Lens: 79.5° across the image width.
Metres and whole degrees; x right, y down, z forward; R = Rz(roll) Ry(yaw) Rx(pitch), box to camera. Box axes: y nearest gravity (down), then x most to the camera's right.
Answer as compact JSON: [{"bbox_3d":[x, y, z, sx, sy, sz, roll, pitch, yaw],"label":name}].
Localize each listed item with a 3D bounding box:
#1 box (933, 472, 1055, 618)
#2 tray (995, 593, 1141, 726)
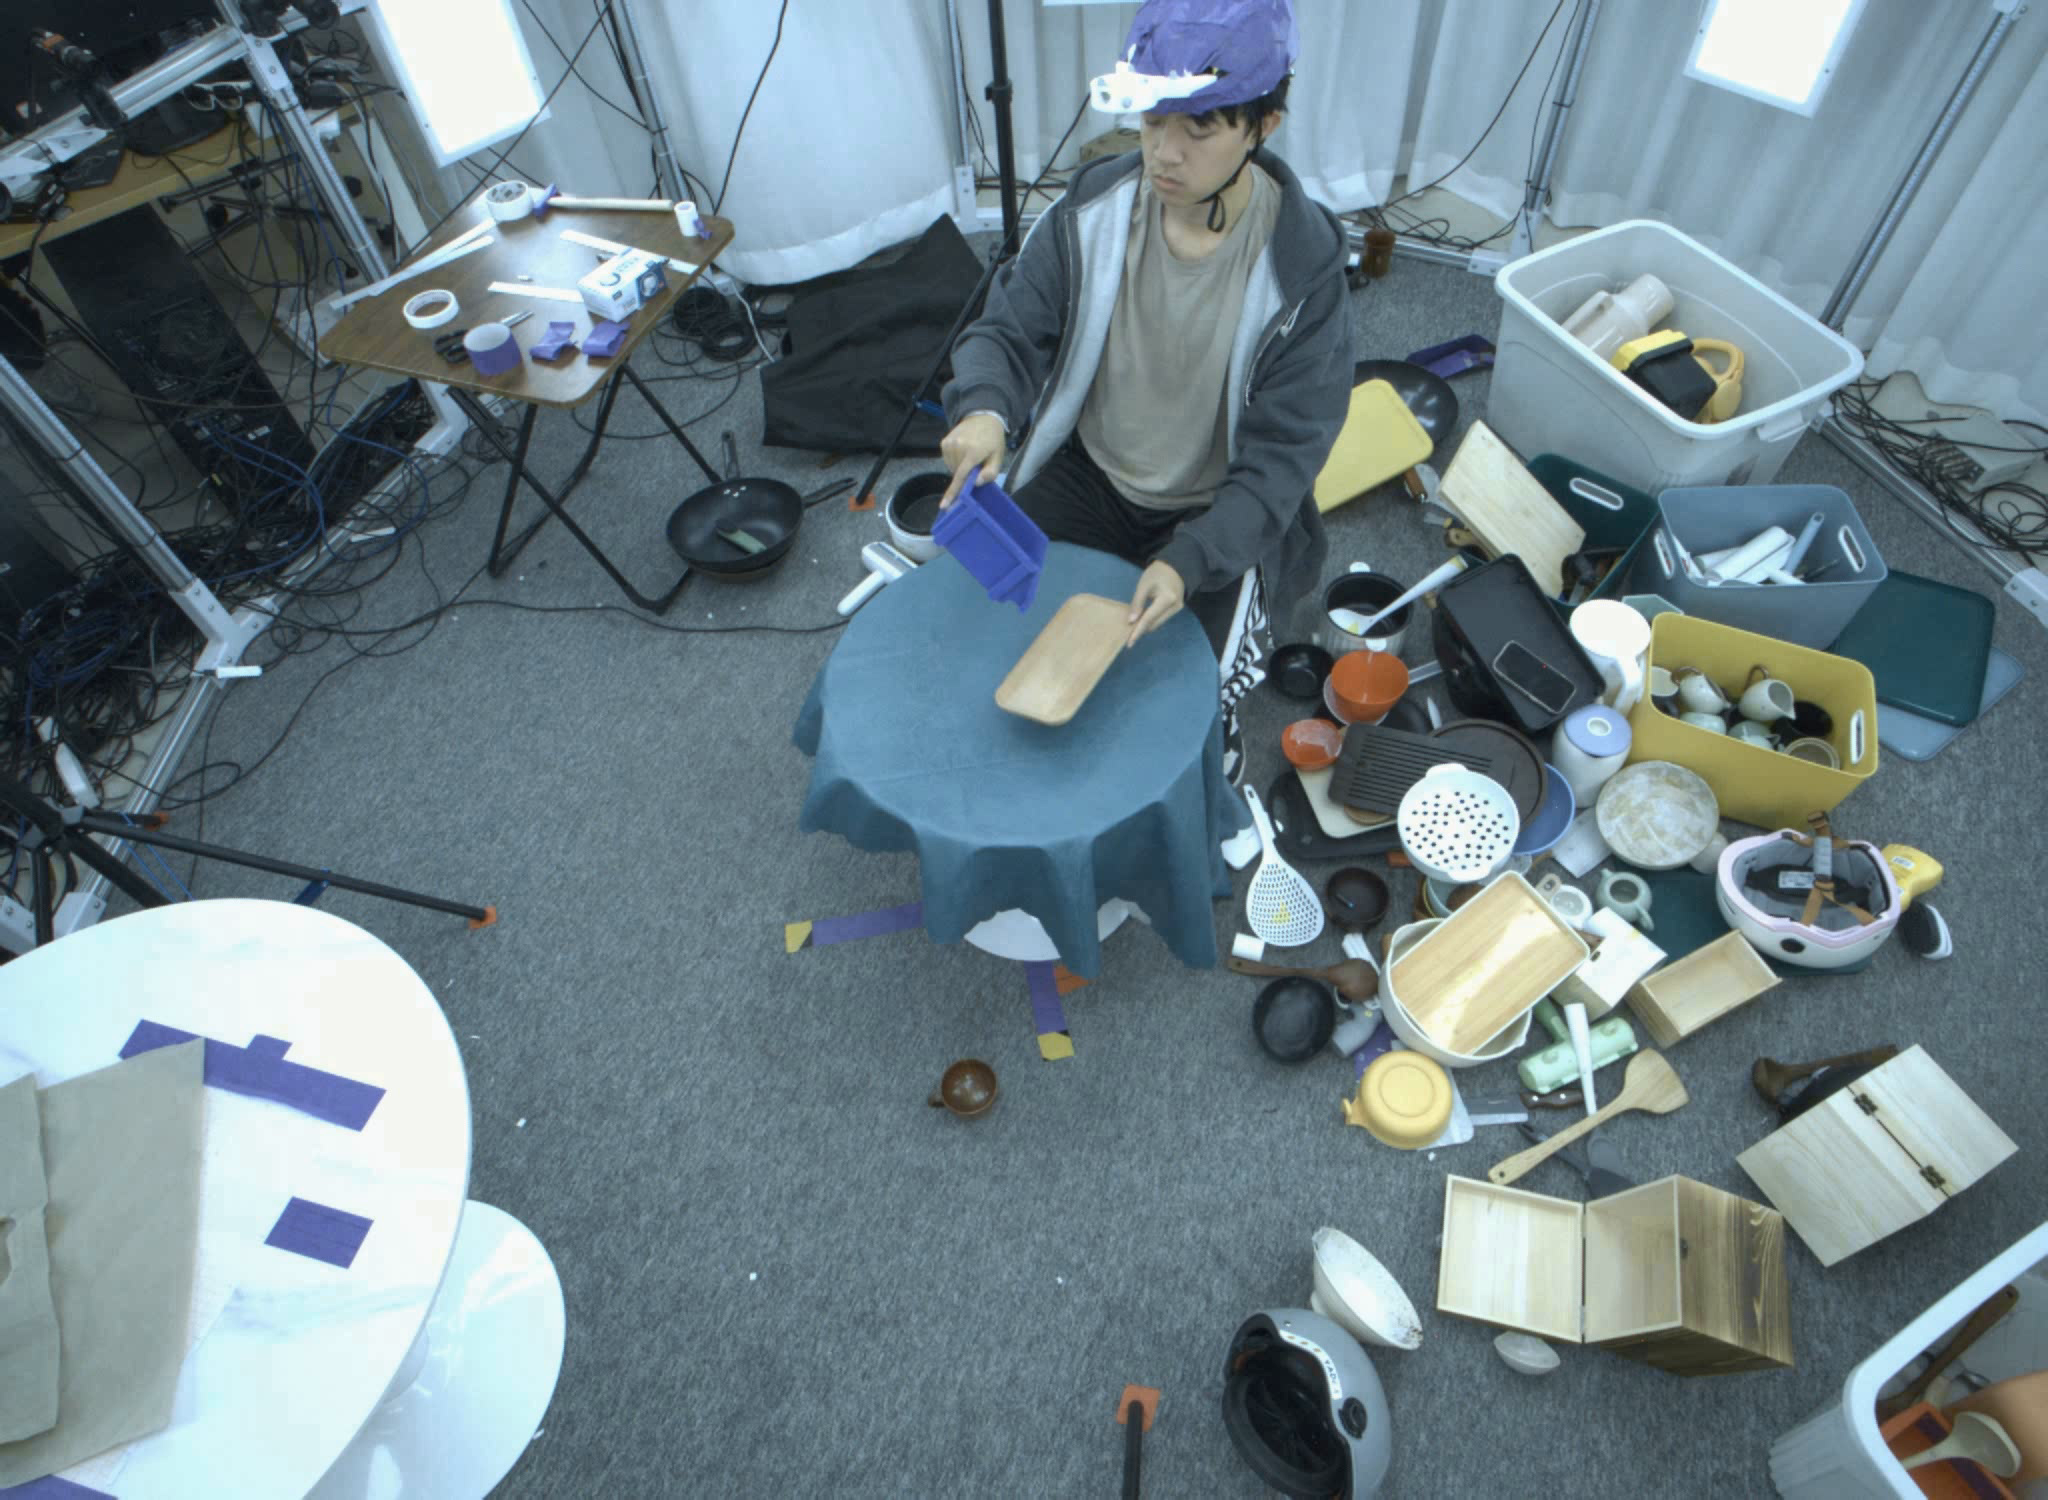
[{"bbox_3d":[-0.034,-0.279,1.688,0.181,0.081,0.124,41,28,-16],"label":"box"},{"bbox_3d":[0.066,-0.134,1.793,0.128,0.023,0.251,22,57,24],"label":"tray"}]
